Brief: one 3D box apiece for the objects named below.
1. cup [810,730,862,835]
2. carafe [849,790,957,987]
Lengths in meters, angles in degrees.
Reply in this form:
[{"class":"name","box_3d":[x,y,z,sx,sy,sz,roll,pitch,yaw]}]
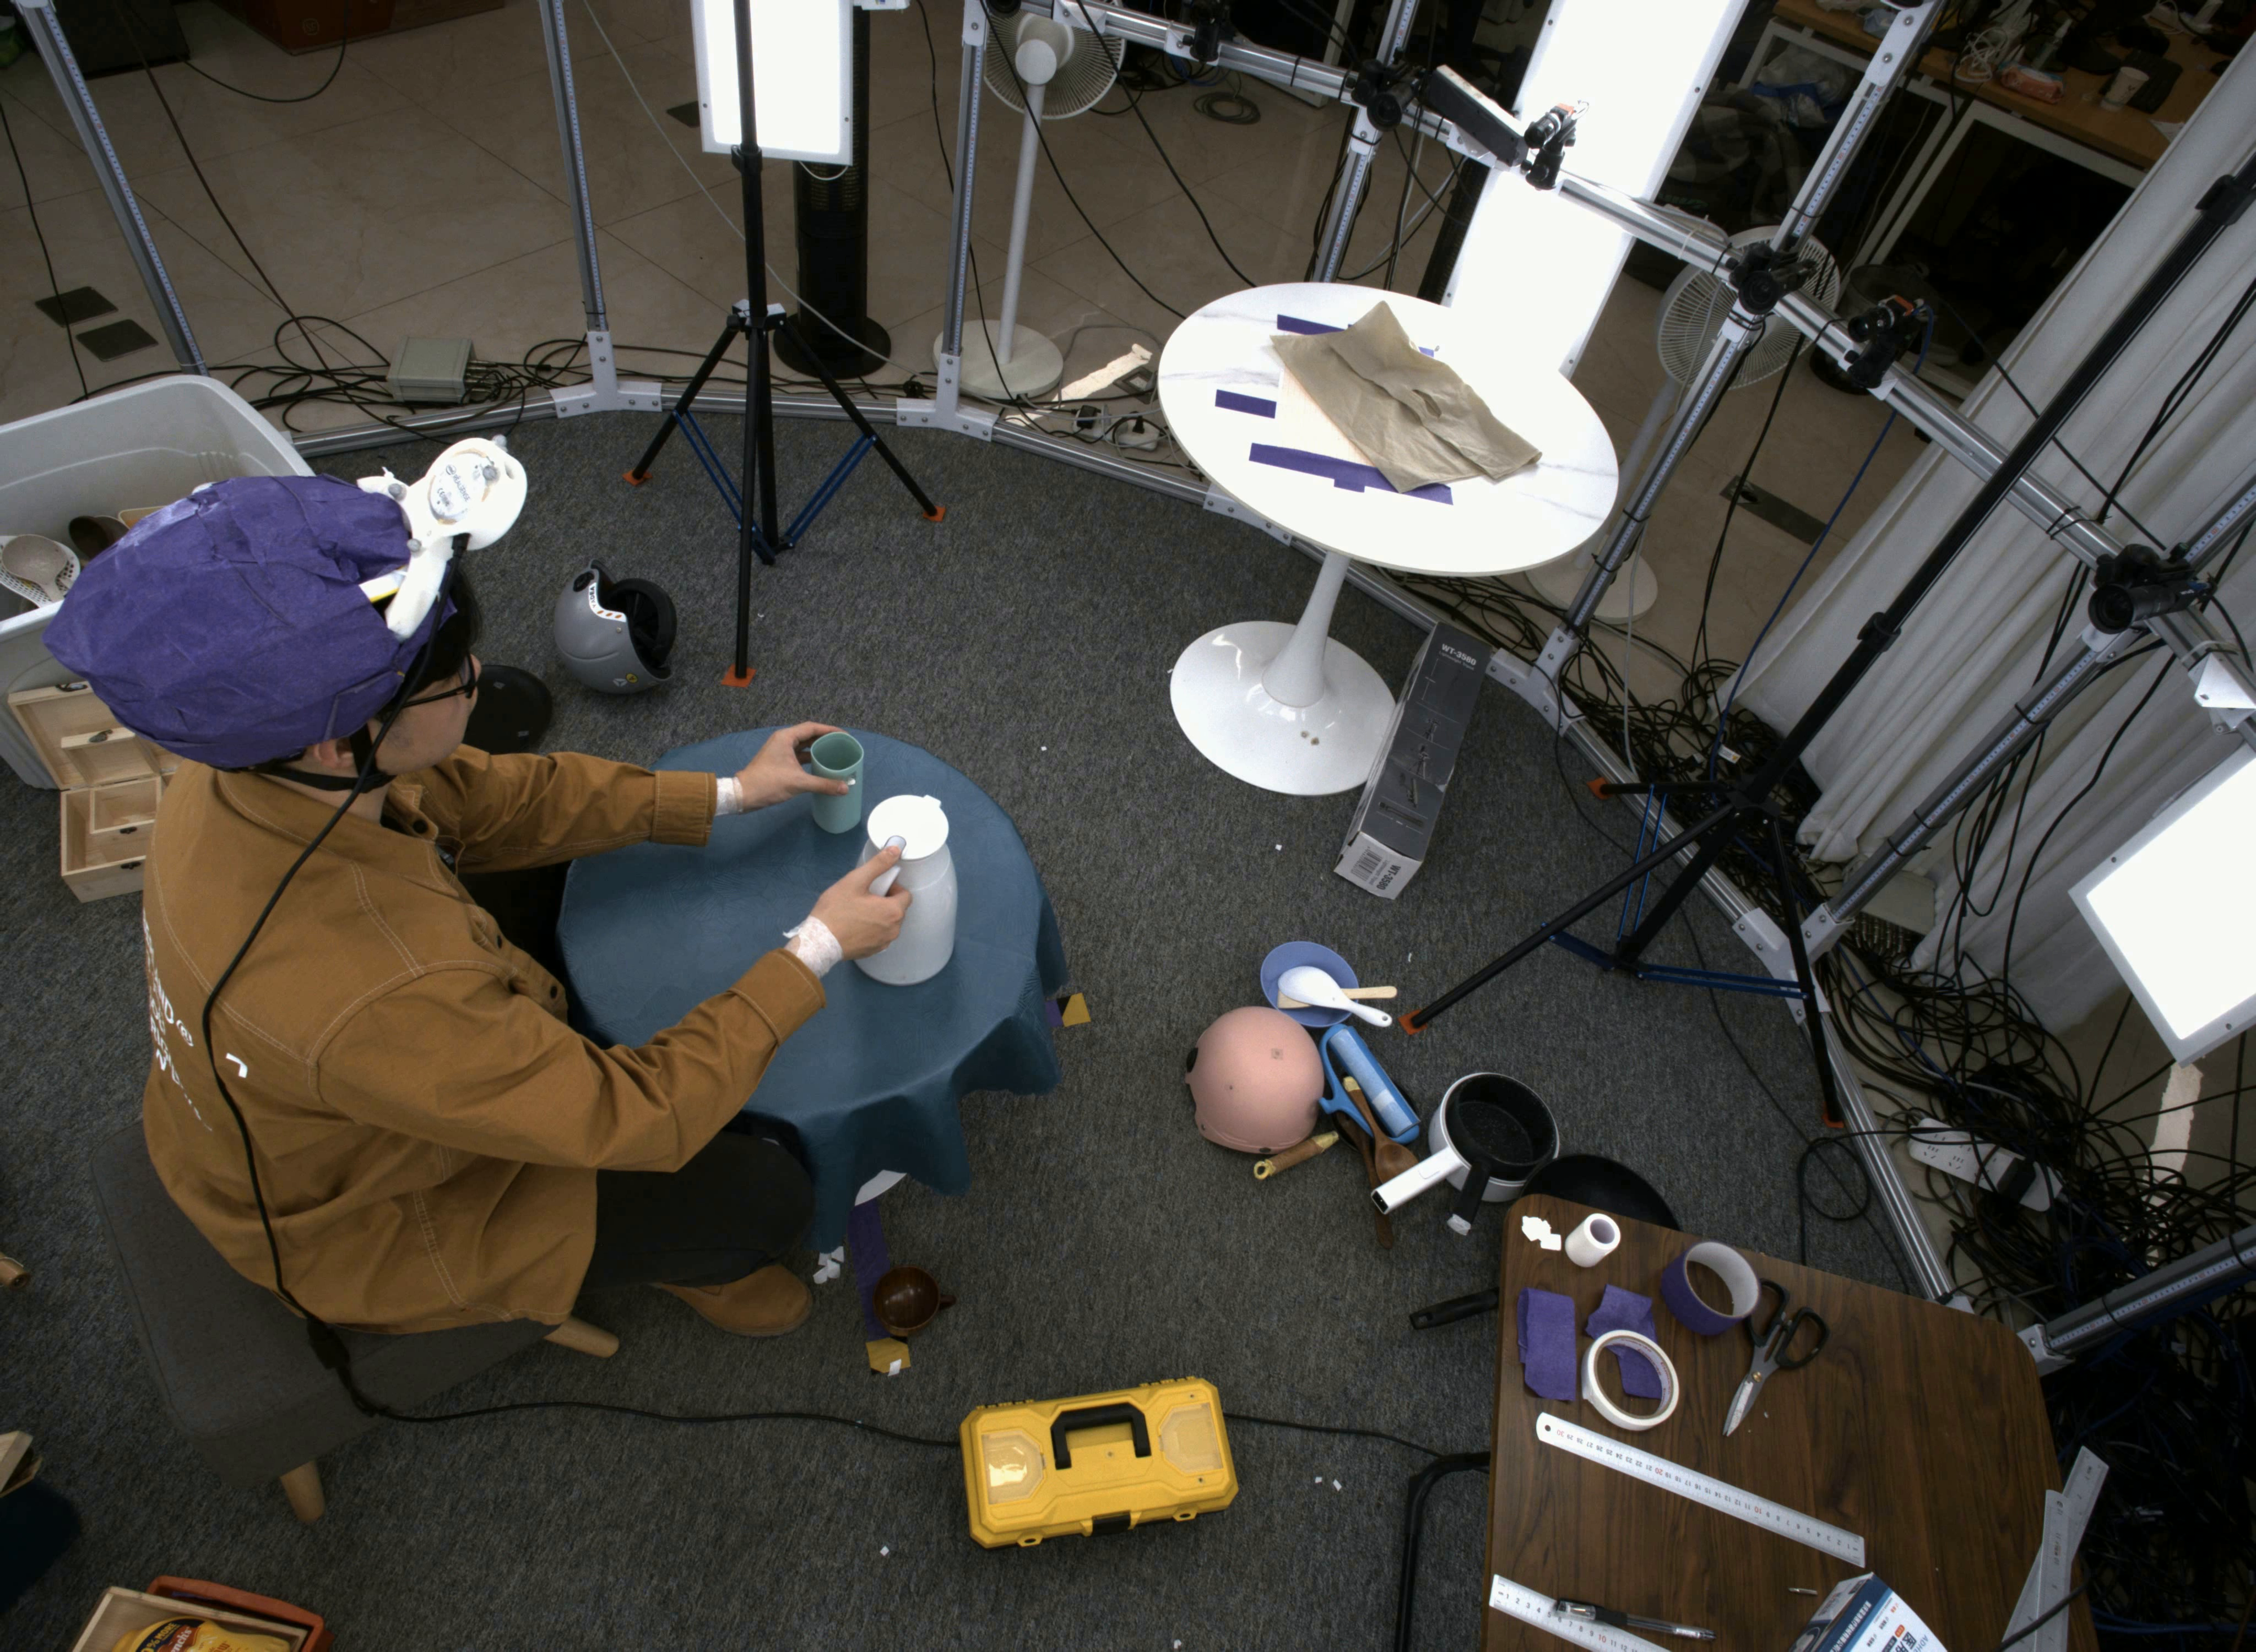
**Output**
[{"class":"cup","box_3d":[-0.381,-0.055,1.694,0.066,0.135,0.065,7,50,-7]},{"class":"carafe","box_3d":[-0.273,0.081,1.540,0.131,0.254,0.166,22,52,6]}]
